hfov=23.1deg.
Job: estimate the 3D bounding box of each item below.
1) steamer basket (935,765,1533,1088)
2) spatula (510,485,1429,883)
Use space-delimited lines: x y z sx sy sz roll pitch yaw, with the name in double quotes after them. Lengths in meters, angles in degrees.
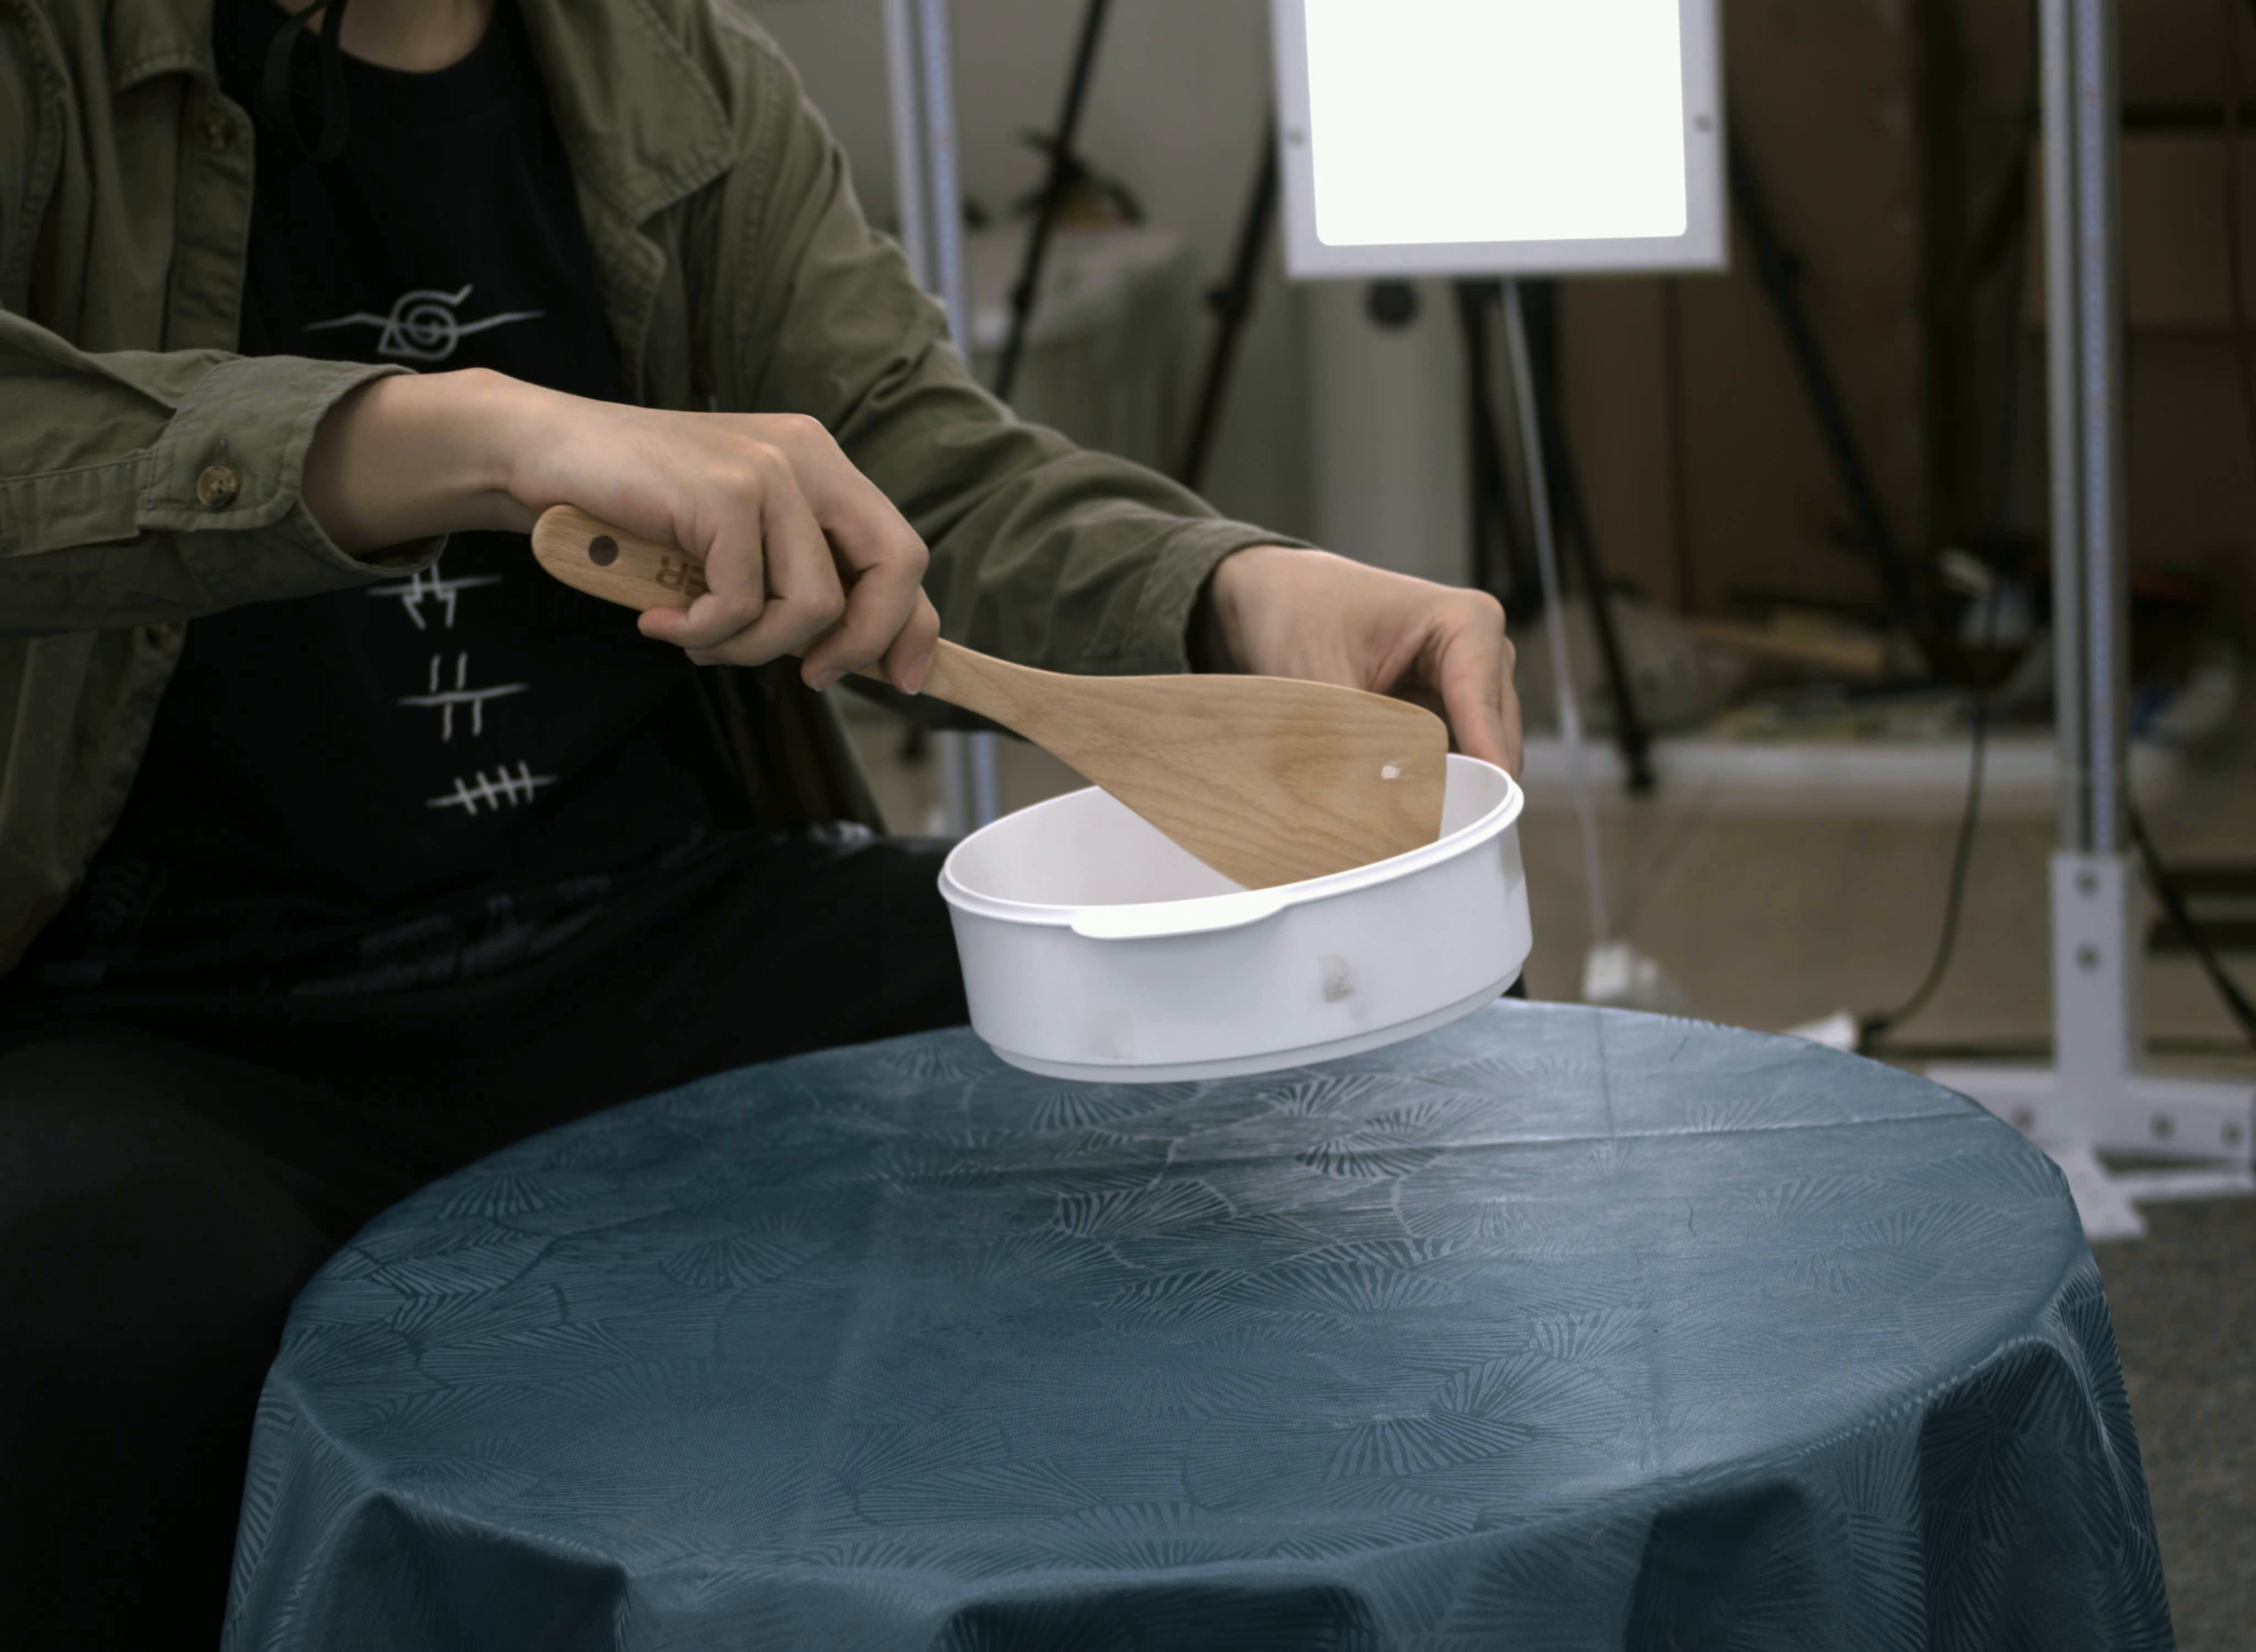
0.039 0.034 1.858 0.204 0.069 0.227 -6 12 15 "steamer basket"
-0.047 -0.052 1.799 0.323 0.080 0.017 18 2 -16 "spatula"
